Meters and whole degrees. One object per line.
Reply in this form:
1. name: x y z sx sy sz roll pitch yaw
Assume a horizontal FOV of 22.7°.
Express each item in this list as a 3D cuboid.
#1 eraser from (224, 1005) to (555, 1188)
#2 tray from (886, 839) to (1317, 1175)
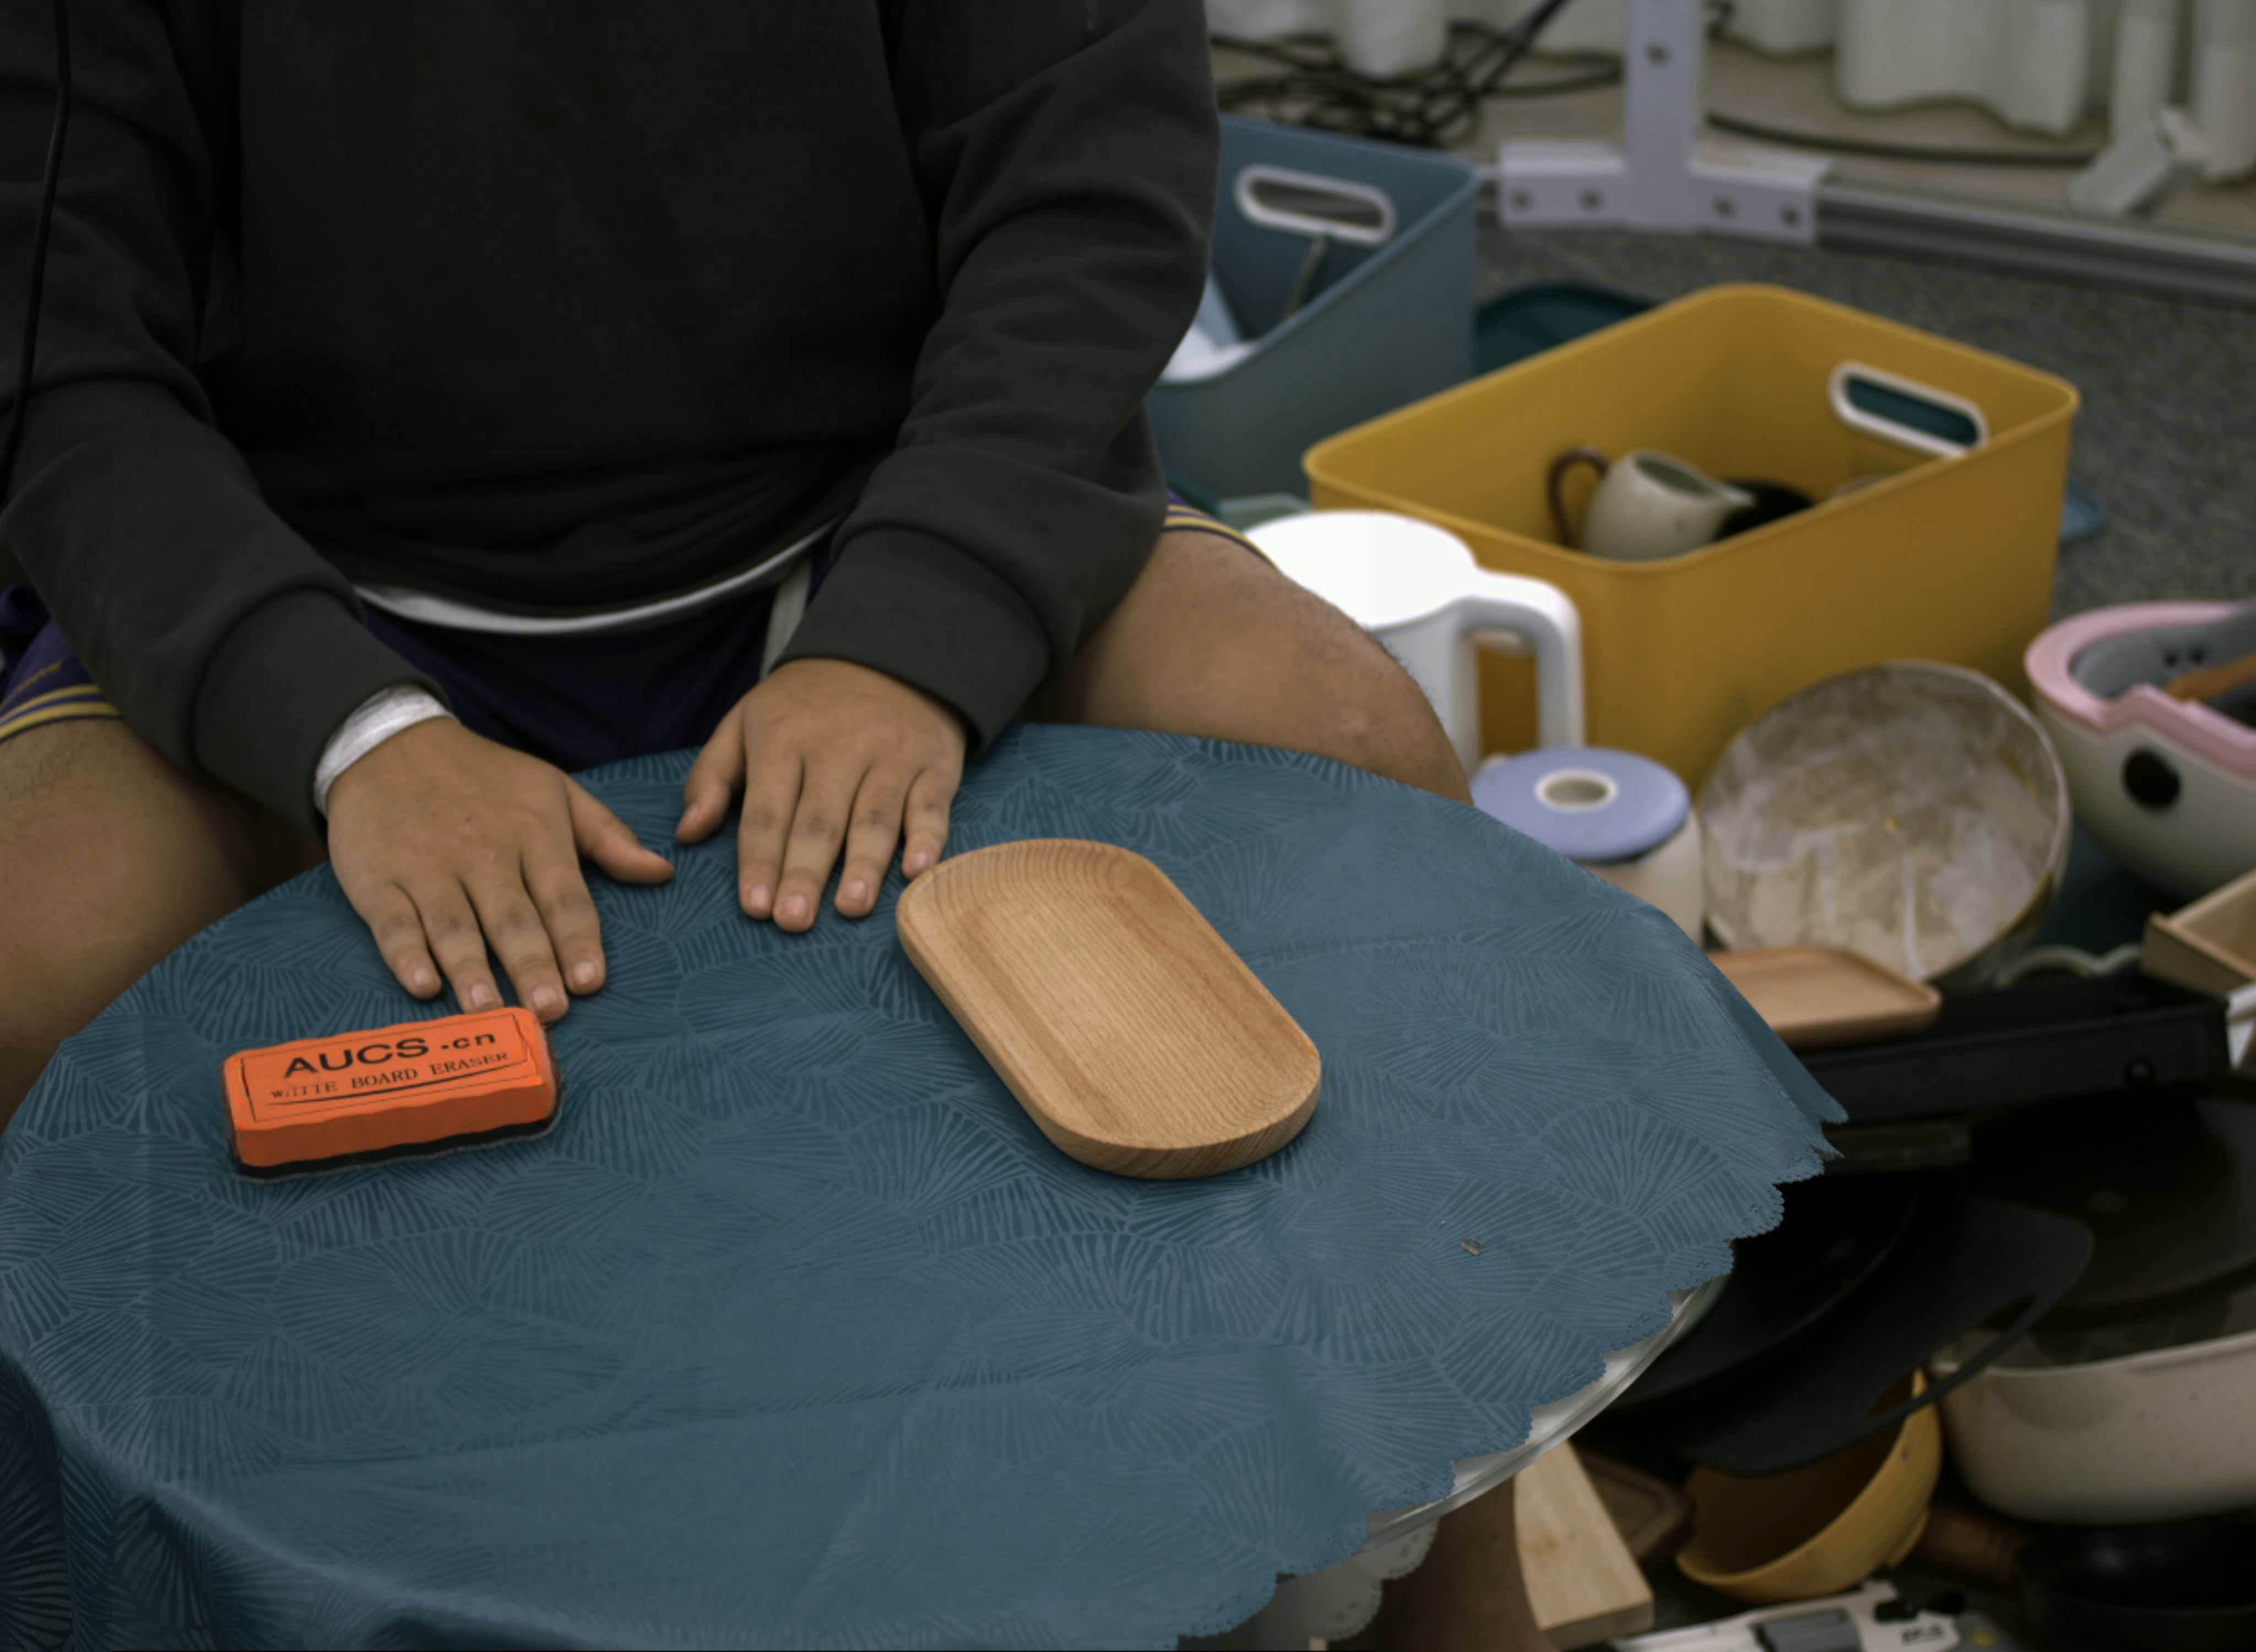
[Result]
1. eraser: -0.252 0.093 1.918 0.108 0.022 0.060 -9 35 -11
2. tray: -0.011 0.061 1.962 0.102 0.020 0.233 -12 27 -19
